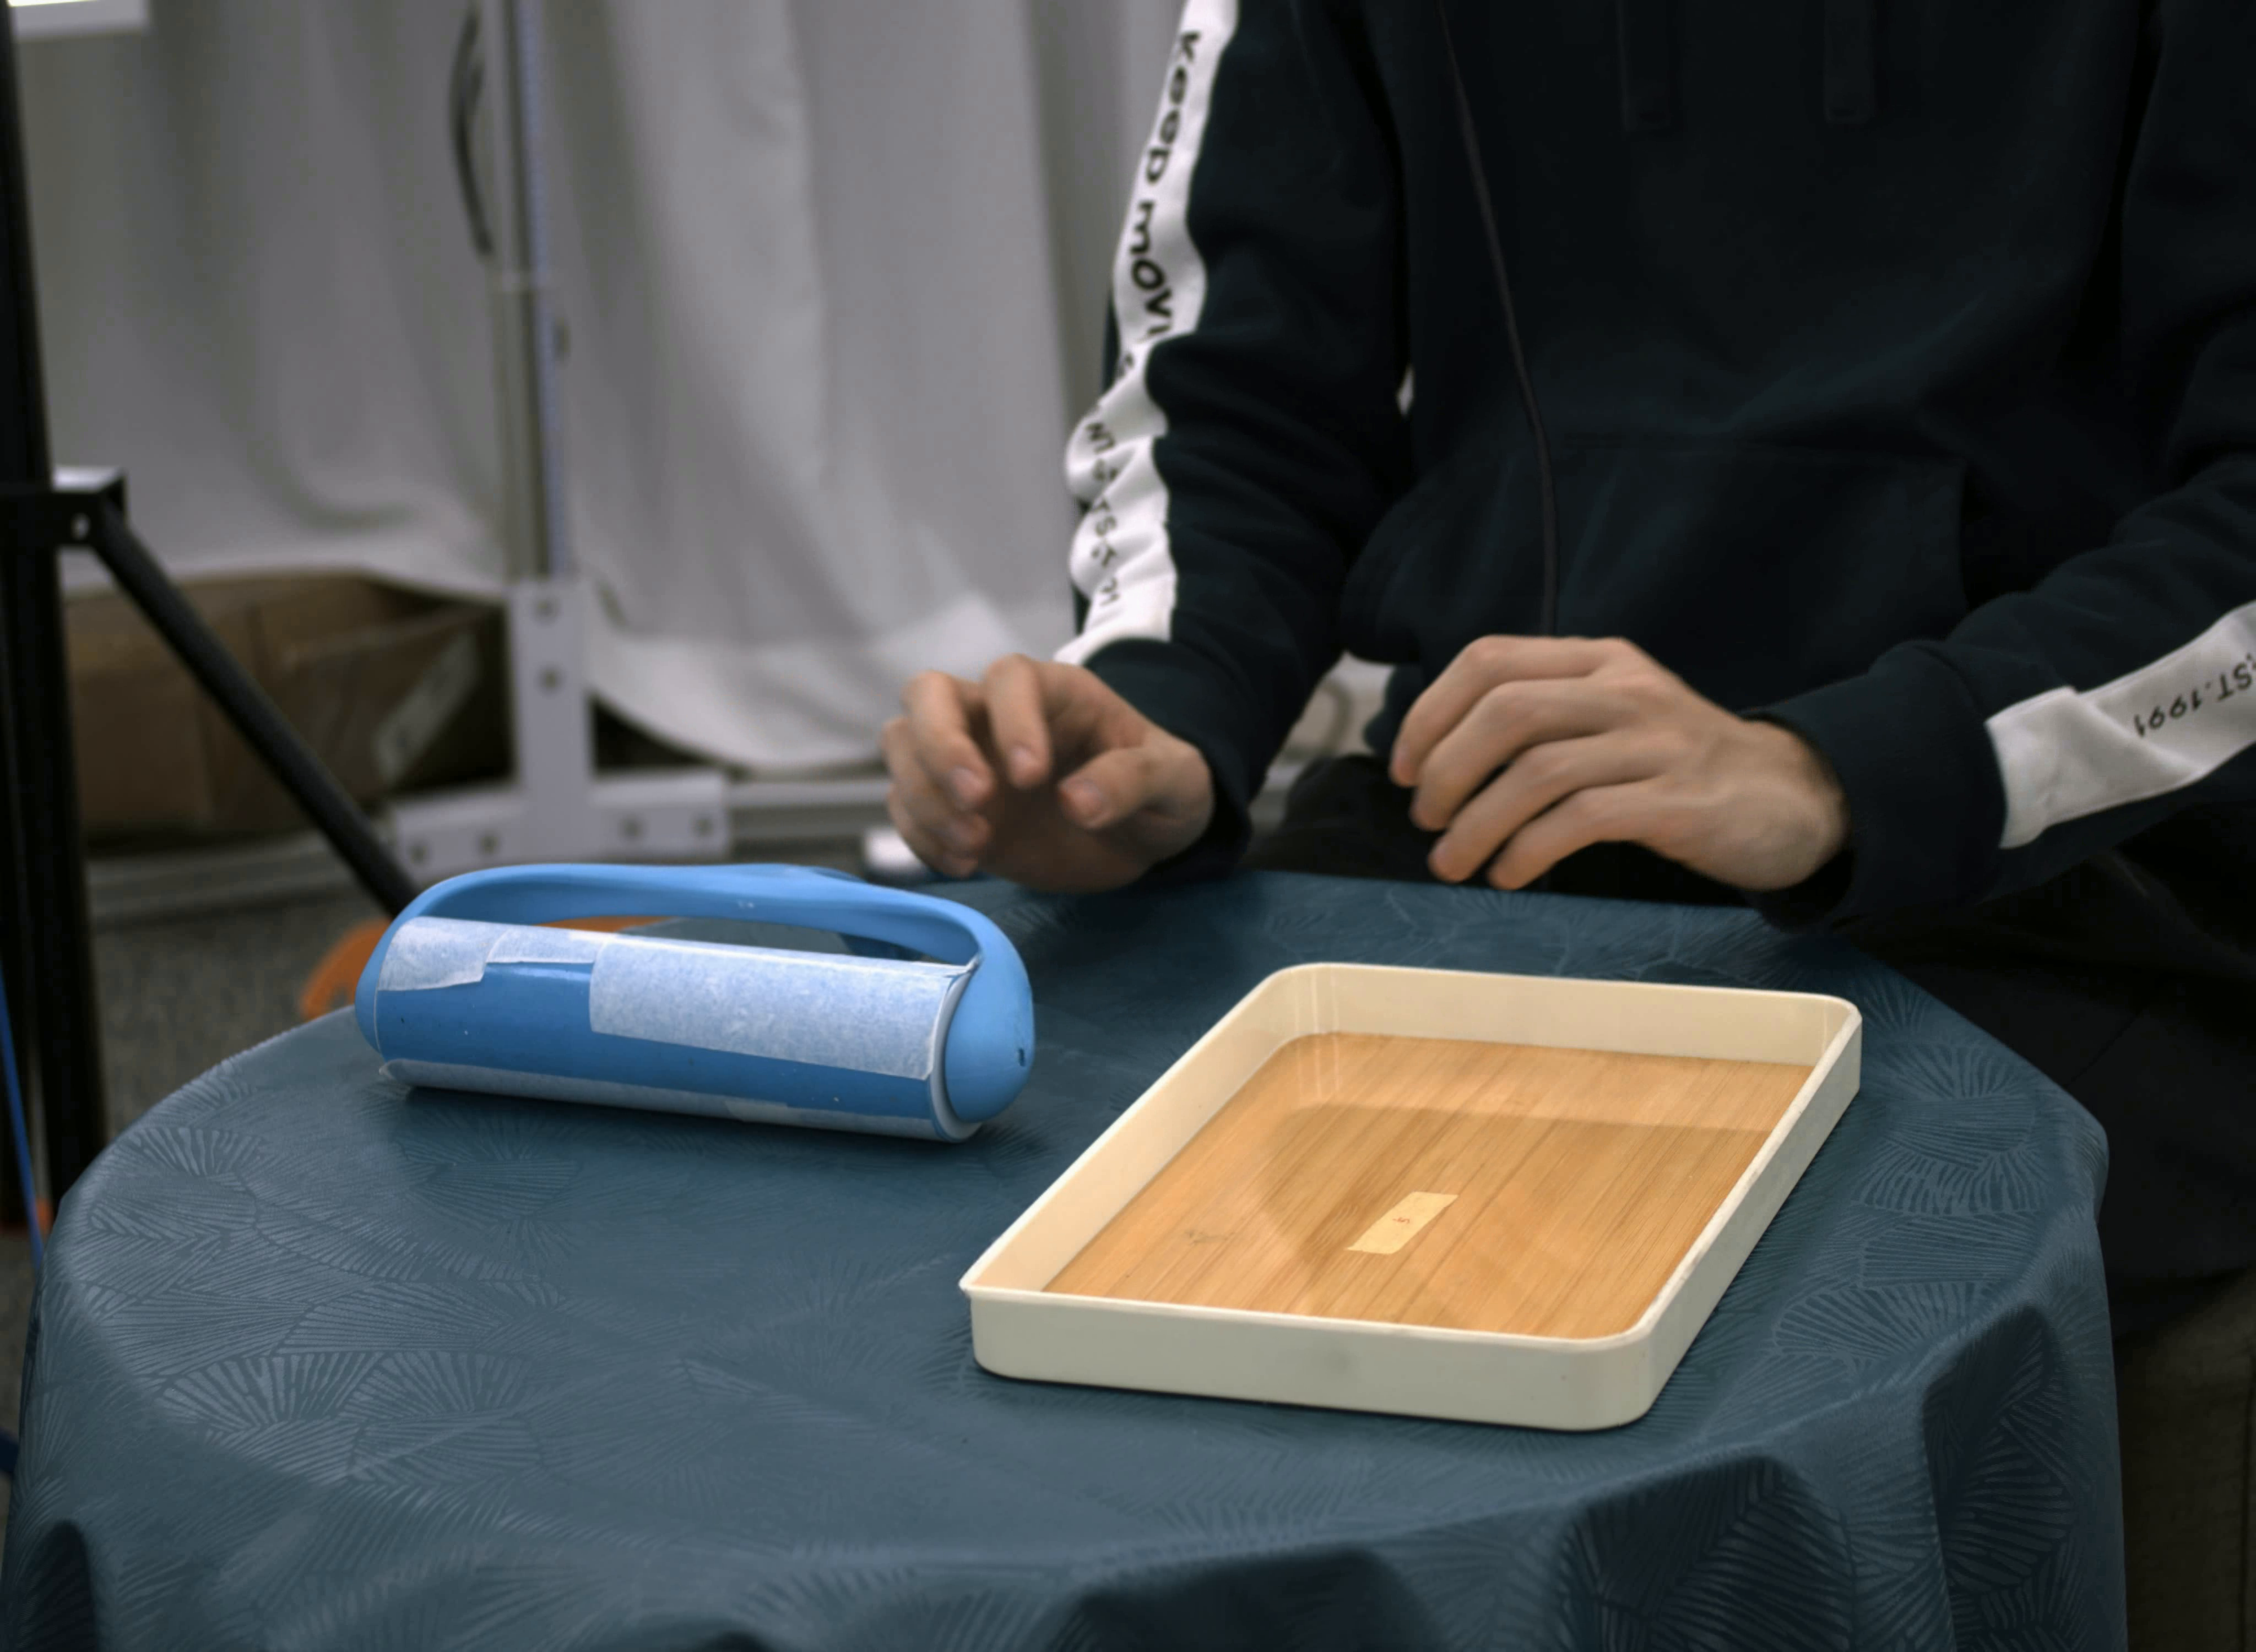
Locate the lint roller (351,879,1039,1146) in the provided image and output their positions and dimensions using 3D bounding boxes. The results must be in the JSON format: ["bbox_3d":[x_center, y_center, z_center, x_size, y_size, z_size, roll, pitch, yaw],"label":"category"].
[{"bbox_3d":[-0.117,0.047,1.693,0.231,0.068,0.178,1,17,21],"label":"lint roller"}]

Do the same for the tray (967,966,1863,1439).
[{"bbox_3d":[0.090,0.102,1.516,0.194,0.027,0.297,3,17,20],"label":"tray"}]
